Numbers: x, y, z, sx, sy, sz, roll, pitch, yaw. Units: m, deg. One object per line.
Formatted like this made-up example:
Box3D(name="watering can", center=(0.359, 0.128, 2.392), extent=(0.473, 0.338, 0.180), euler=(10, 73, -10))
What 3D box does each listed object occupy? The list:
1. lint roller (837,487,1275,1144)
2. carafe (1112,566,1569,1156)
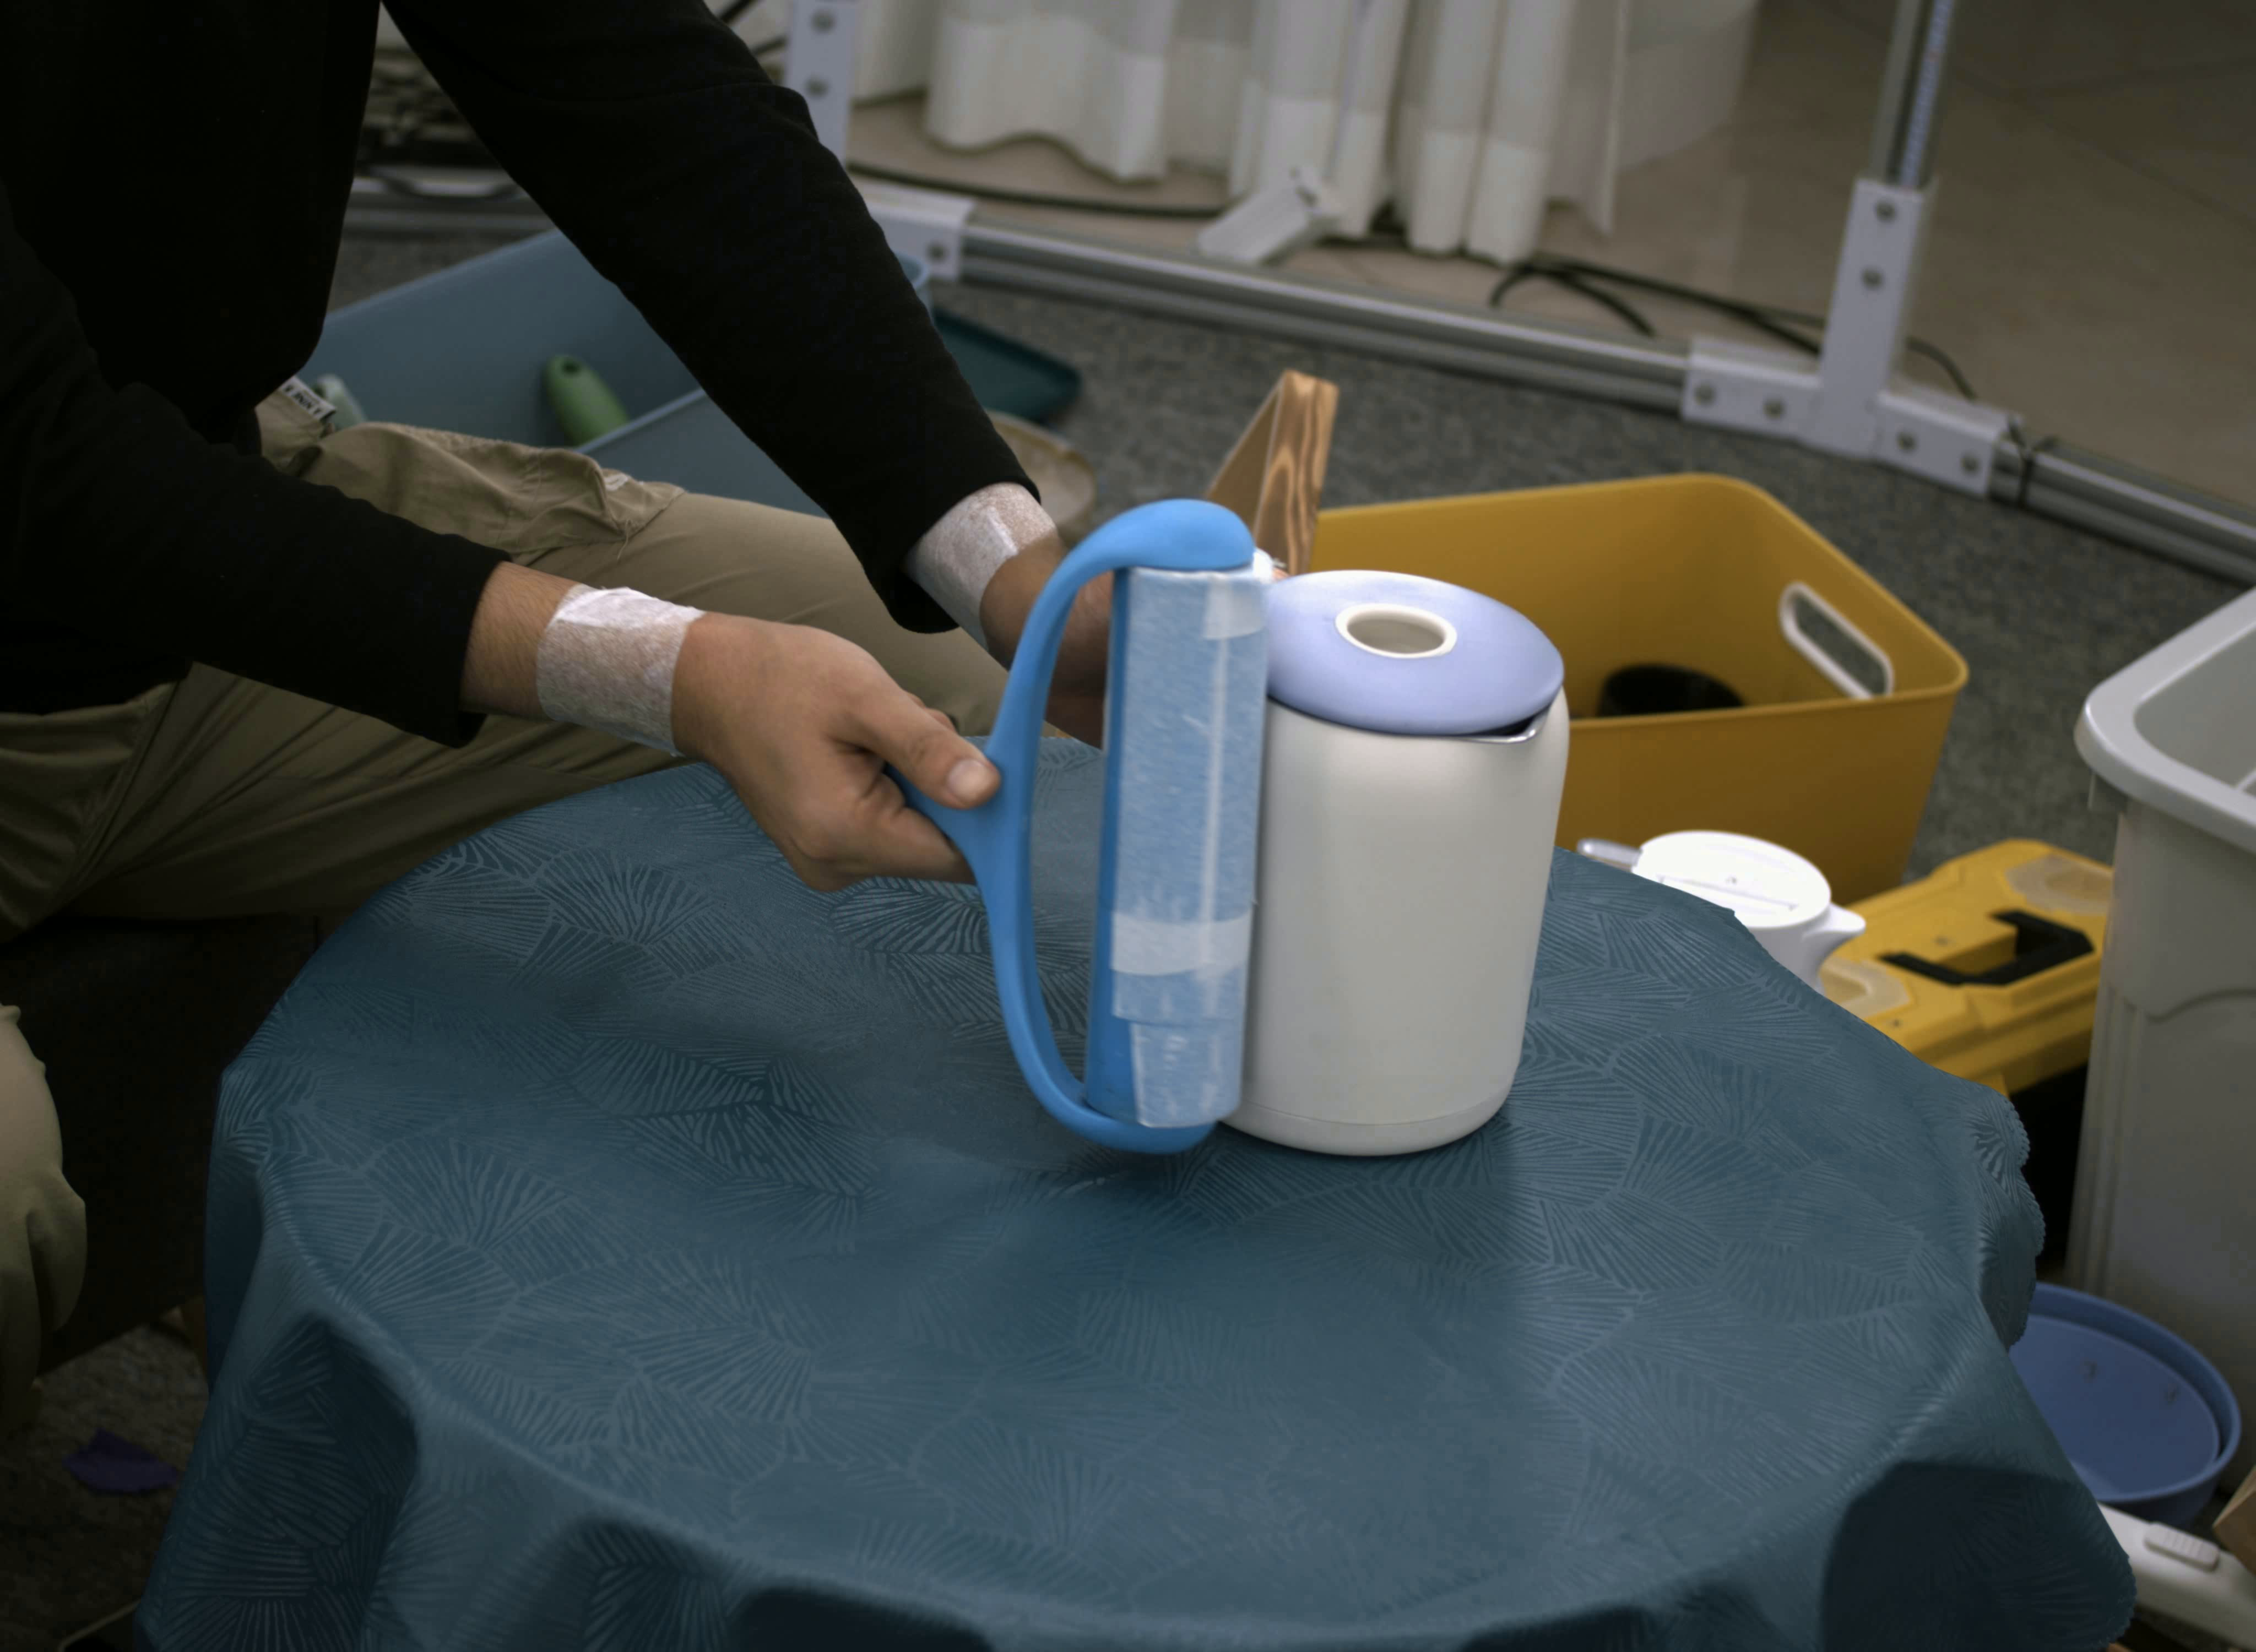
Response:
Box3D(name="lint roller", center=(-0.036, -0.010, 1.808), extent=(0.181, 0.228, 0.068), euler=(10, 20, 27))
Box3D(name="carafe", center=(0.065, 0.002, 1.866), extent=(0.131, 0.182, 0.192), euler=(-16, 32, -39))
